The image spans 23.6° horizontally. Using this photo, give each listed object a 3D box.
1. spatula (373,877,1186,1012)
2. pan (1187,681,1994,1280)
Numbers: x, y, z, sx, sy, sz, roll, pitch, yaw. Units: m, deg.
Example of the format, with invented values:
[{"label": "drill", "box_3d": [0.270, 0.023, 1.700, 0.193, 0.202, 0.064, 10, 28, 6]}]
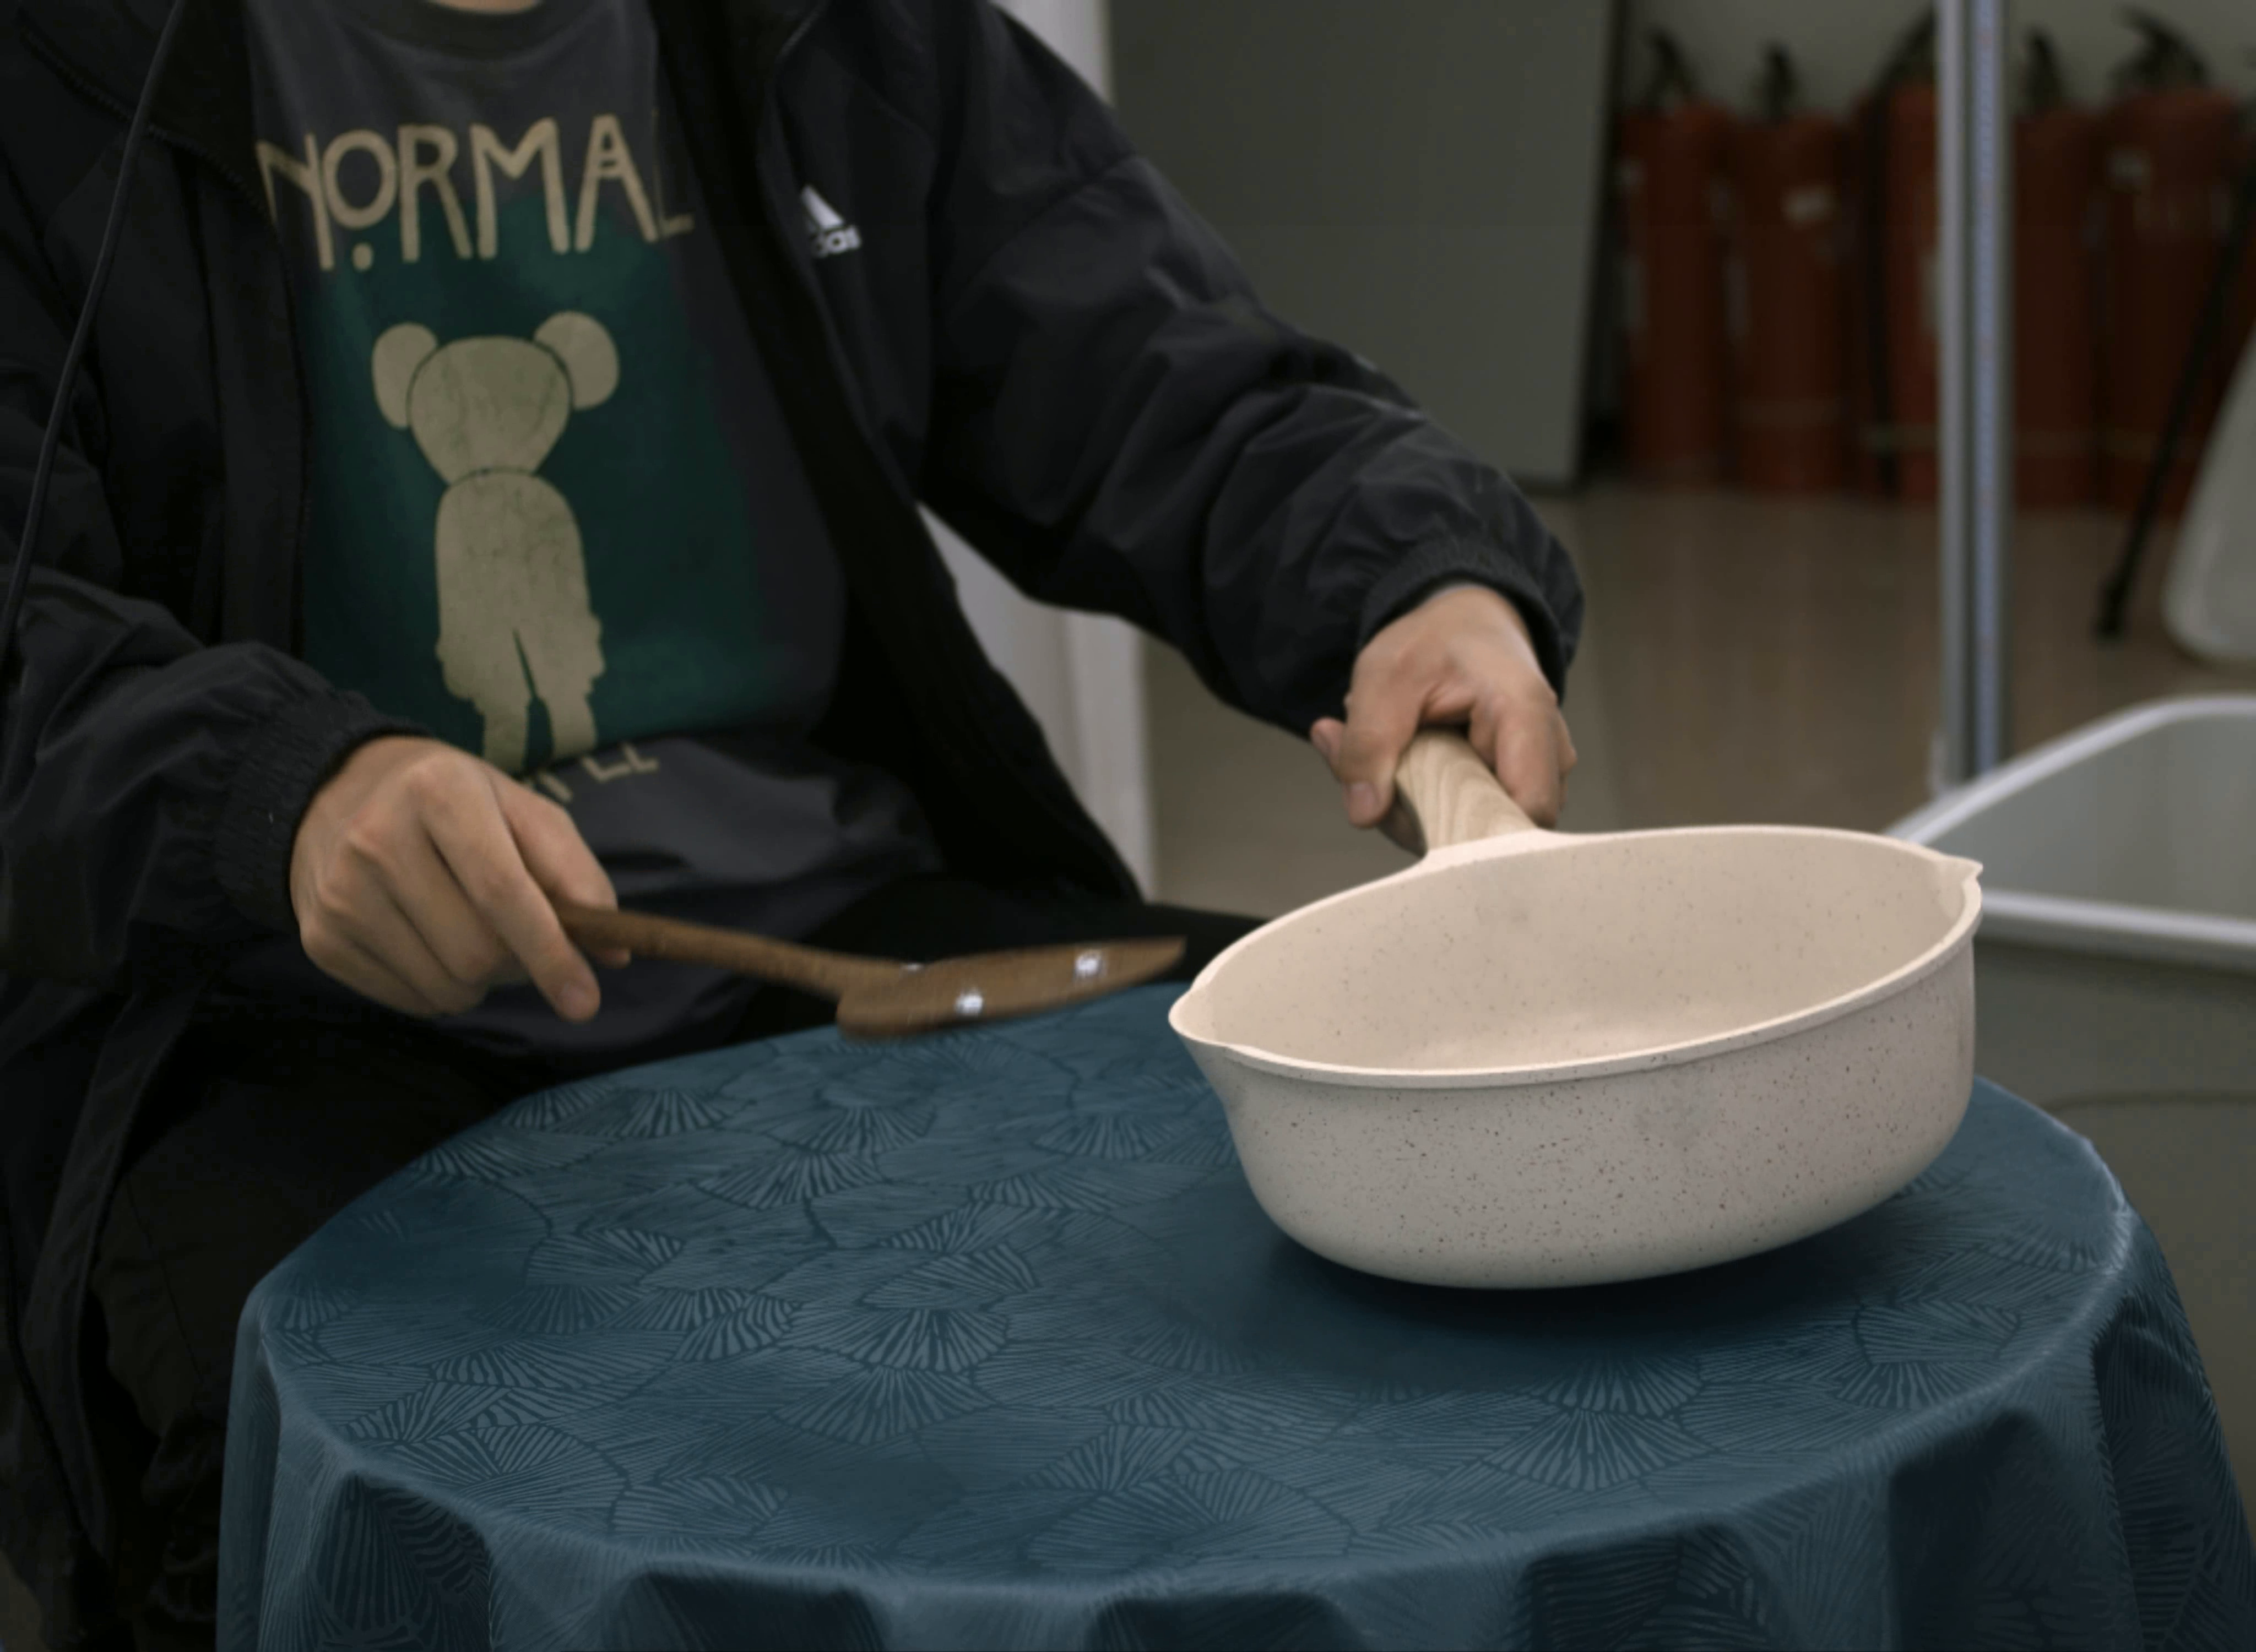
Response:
[{"label": "spatula", "box_3d": [-0.128, 0.032, 1.659, 0.094, 0.016, 0.390, -16, 12, -36]}, {"label": "pan", "box_3d": [0.136, 0.042, 1.772, 0.259, 0.103, 0.437, -13, 14, -5]}]
